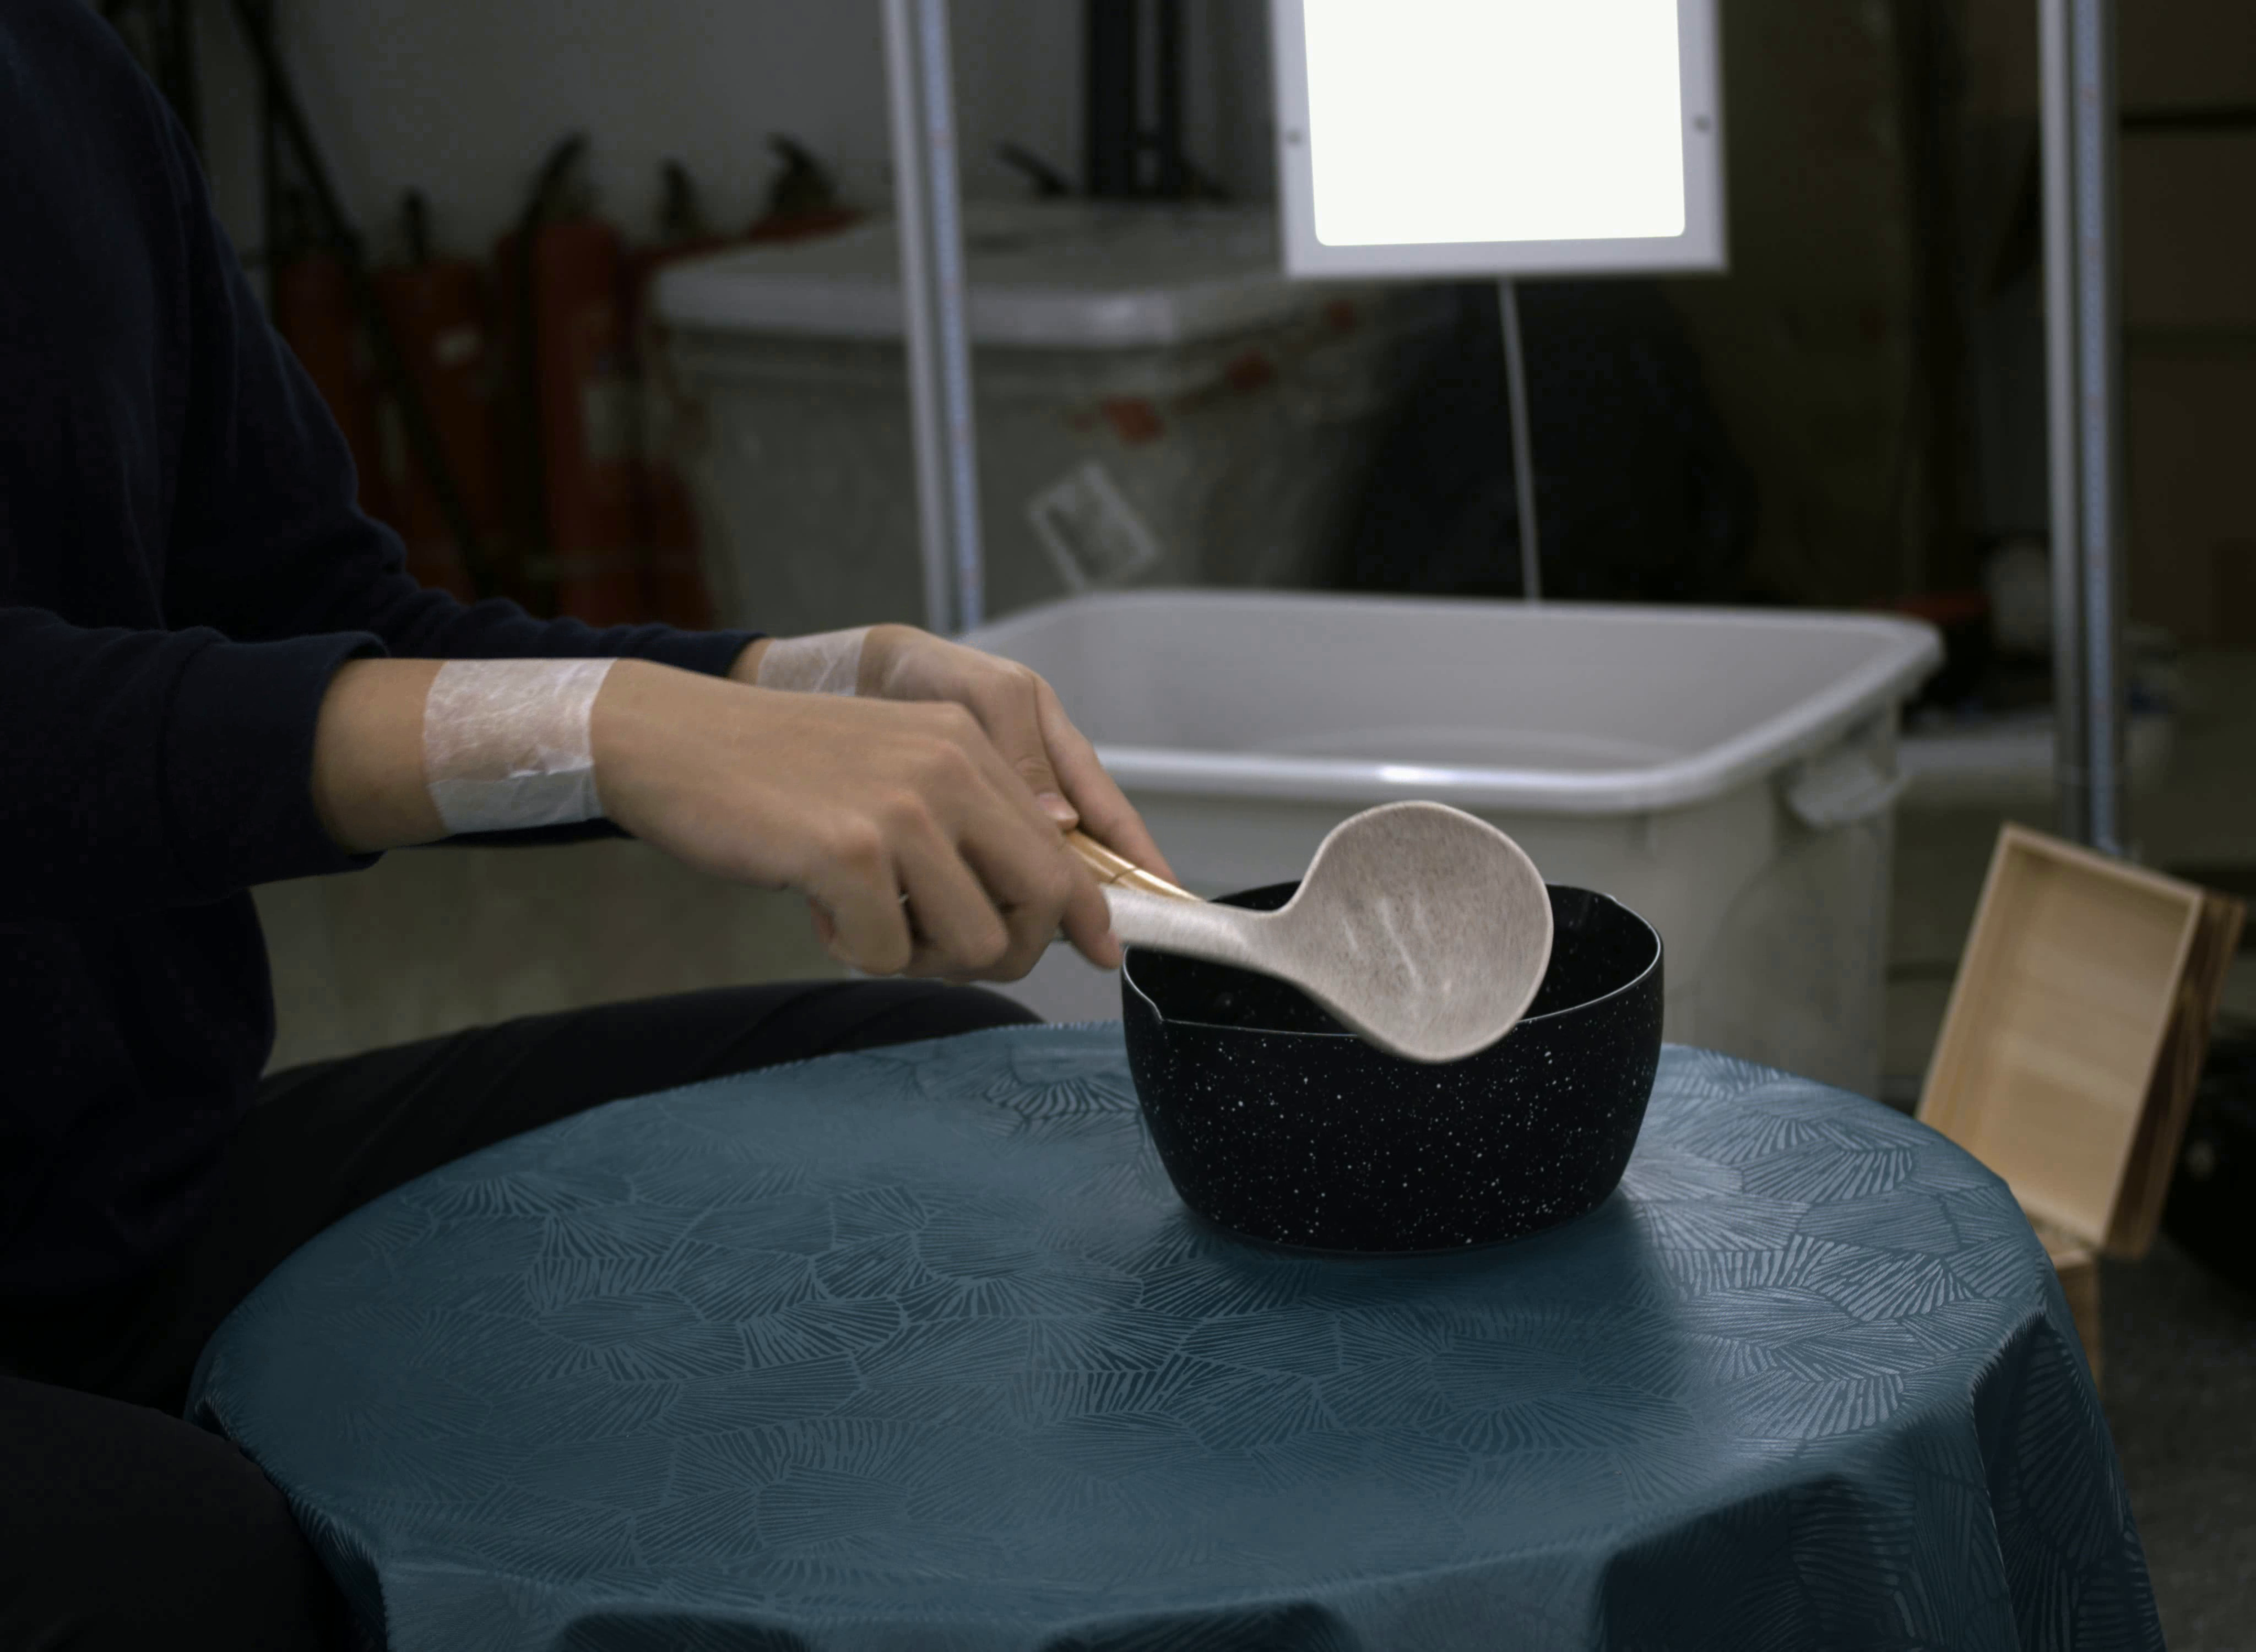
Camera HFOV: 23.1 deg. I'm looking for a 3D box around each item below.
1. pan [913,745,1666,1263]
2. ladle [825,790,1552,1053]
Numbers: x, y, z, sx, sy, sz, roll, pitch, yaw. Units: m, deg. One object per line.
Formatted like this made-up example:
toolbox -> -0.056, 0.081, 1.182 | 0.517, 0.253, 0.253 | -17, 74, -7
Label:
pan -> 0.038, 0.056, 1.917 | 0.202, 0.109, 0.350 | -17, 22, -37
ladle -> 0.024, 0.016, 1.644 | 0.071, 0.089, 0.268 | -31, -26, 32
